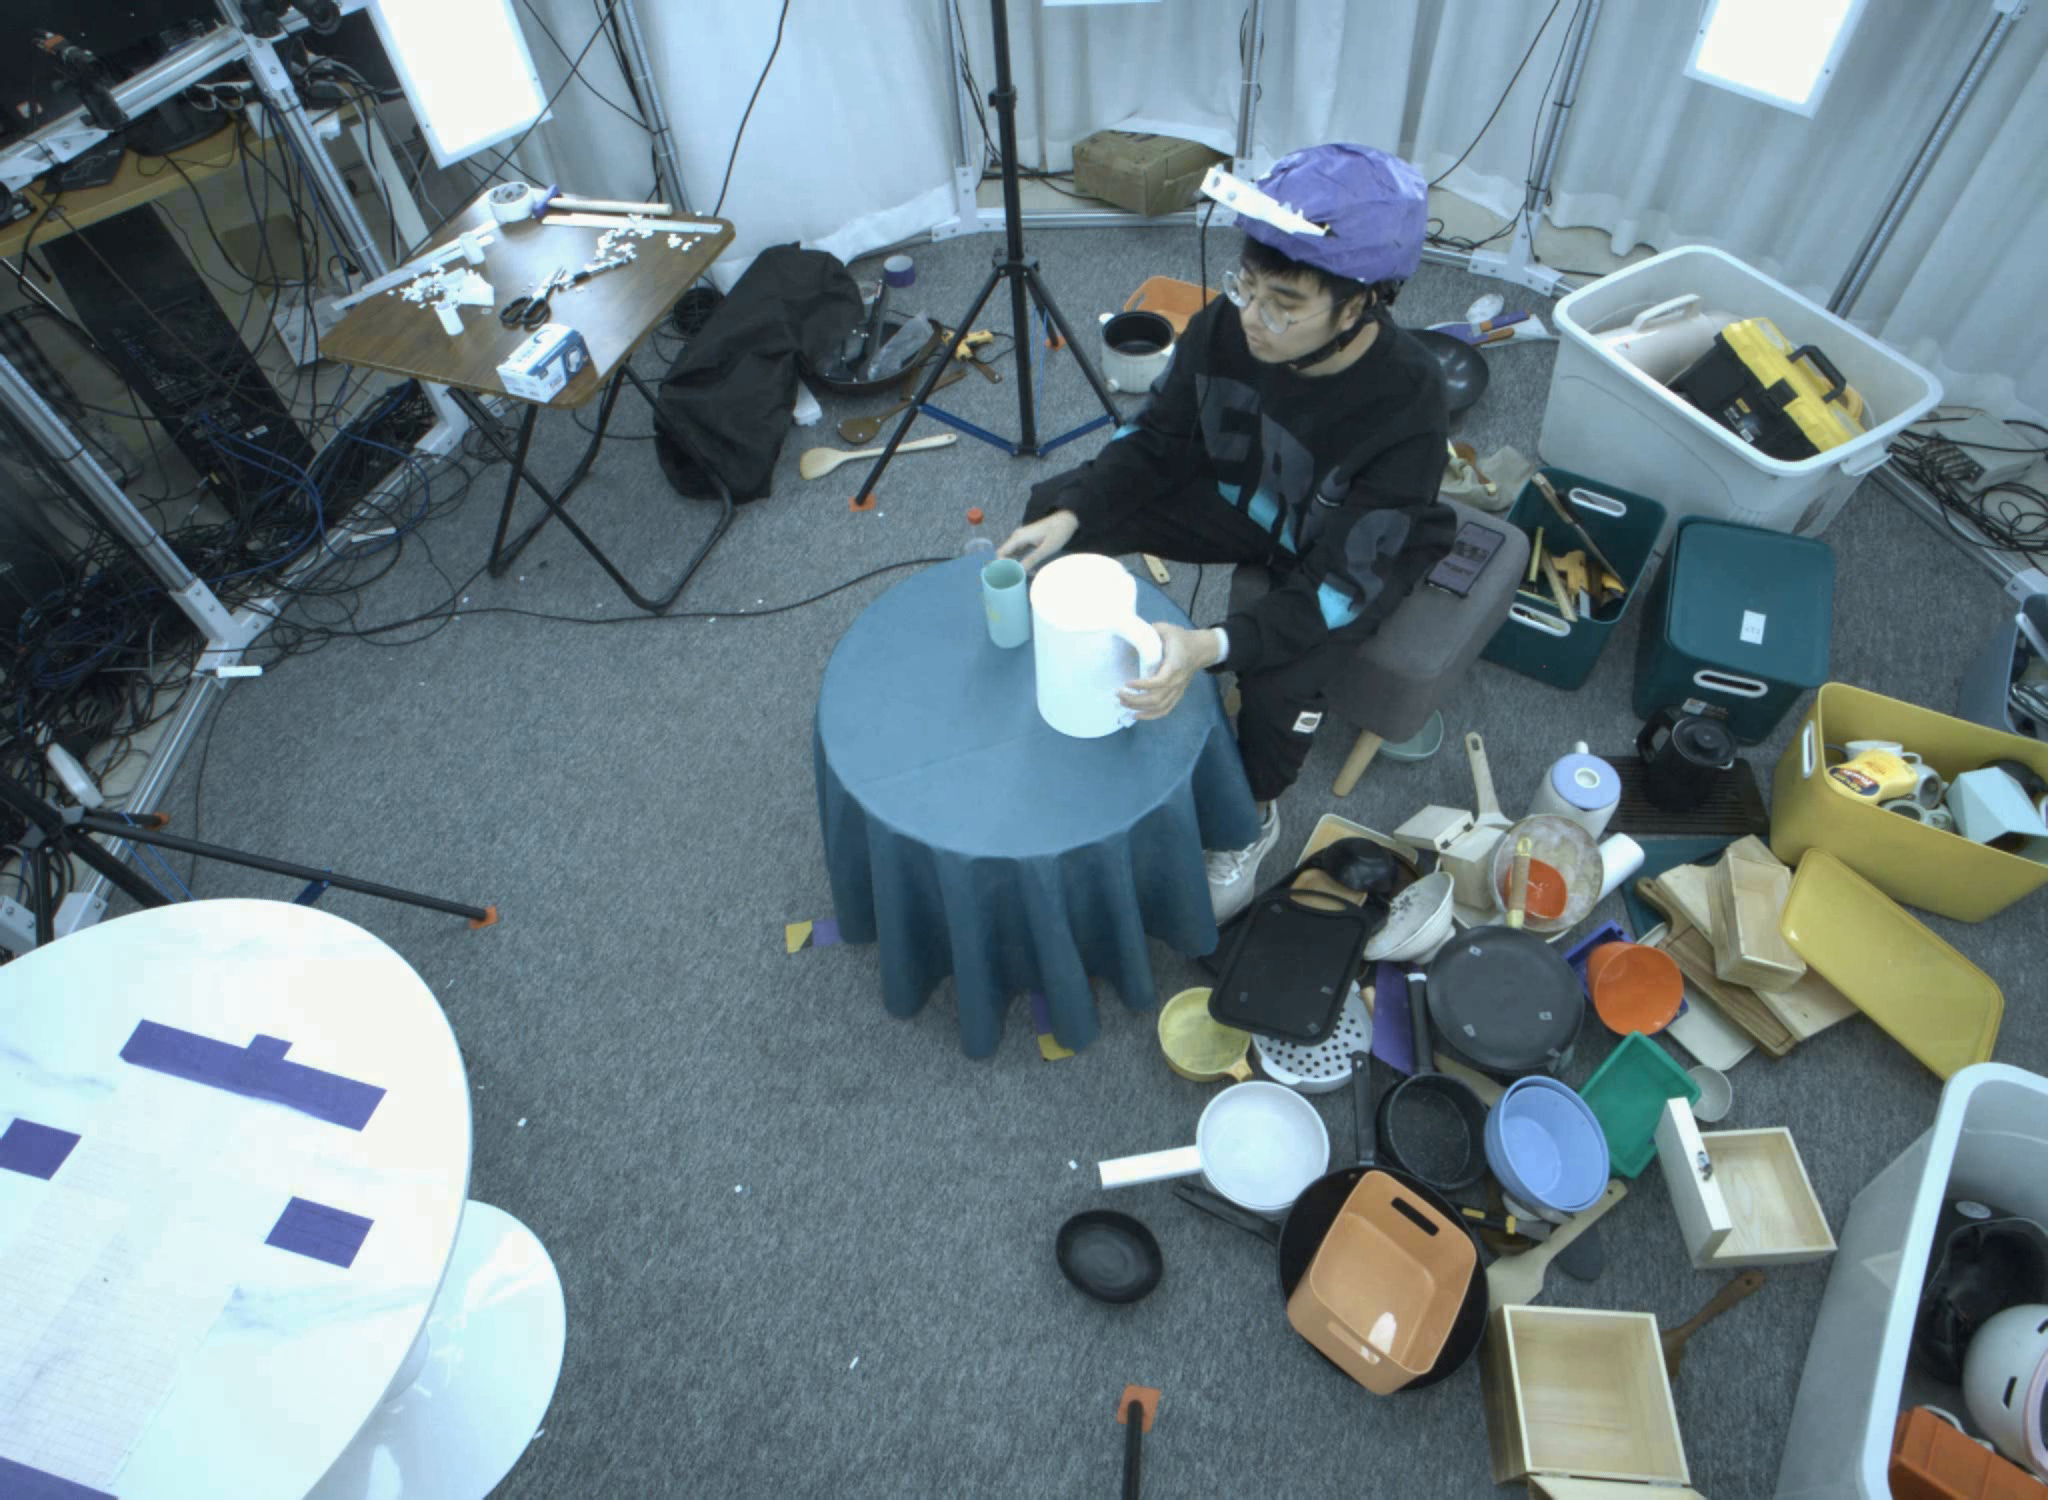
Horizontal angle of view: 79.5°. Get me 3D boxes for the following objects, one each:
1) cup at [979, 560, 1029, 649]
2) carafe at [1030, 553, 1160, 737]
[{"bbox_3d":[-0.028,-0.220,1.864,0.066,0.134,0.066,-2,54,4],"label":"cup"},{"bbox_3d":[0.103,-0.131,1.729,0.153,0.243,0.209,-40,61,-21],"label":"carafe"}]
